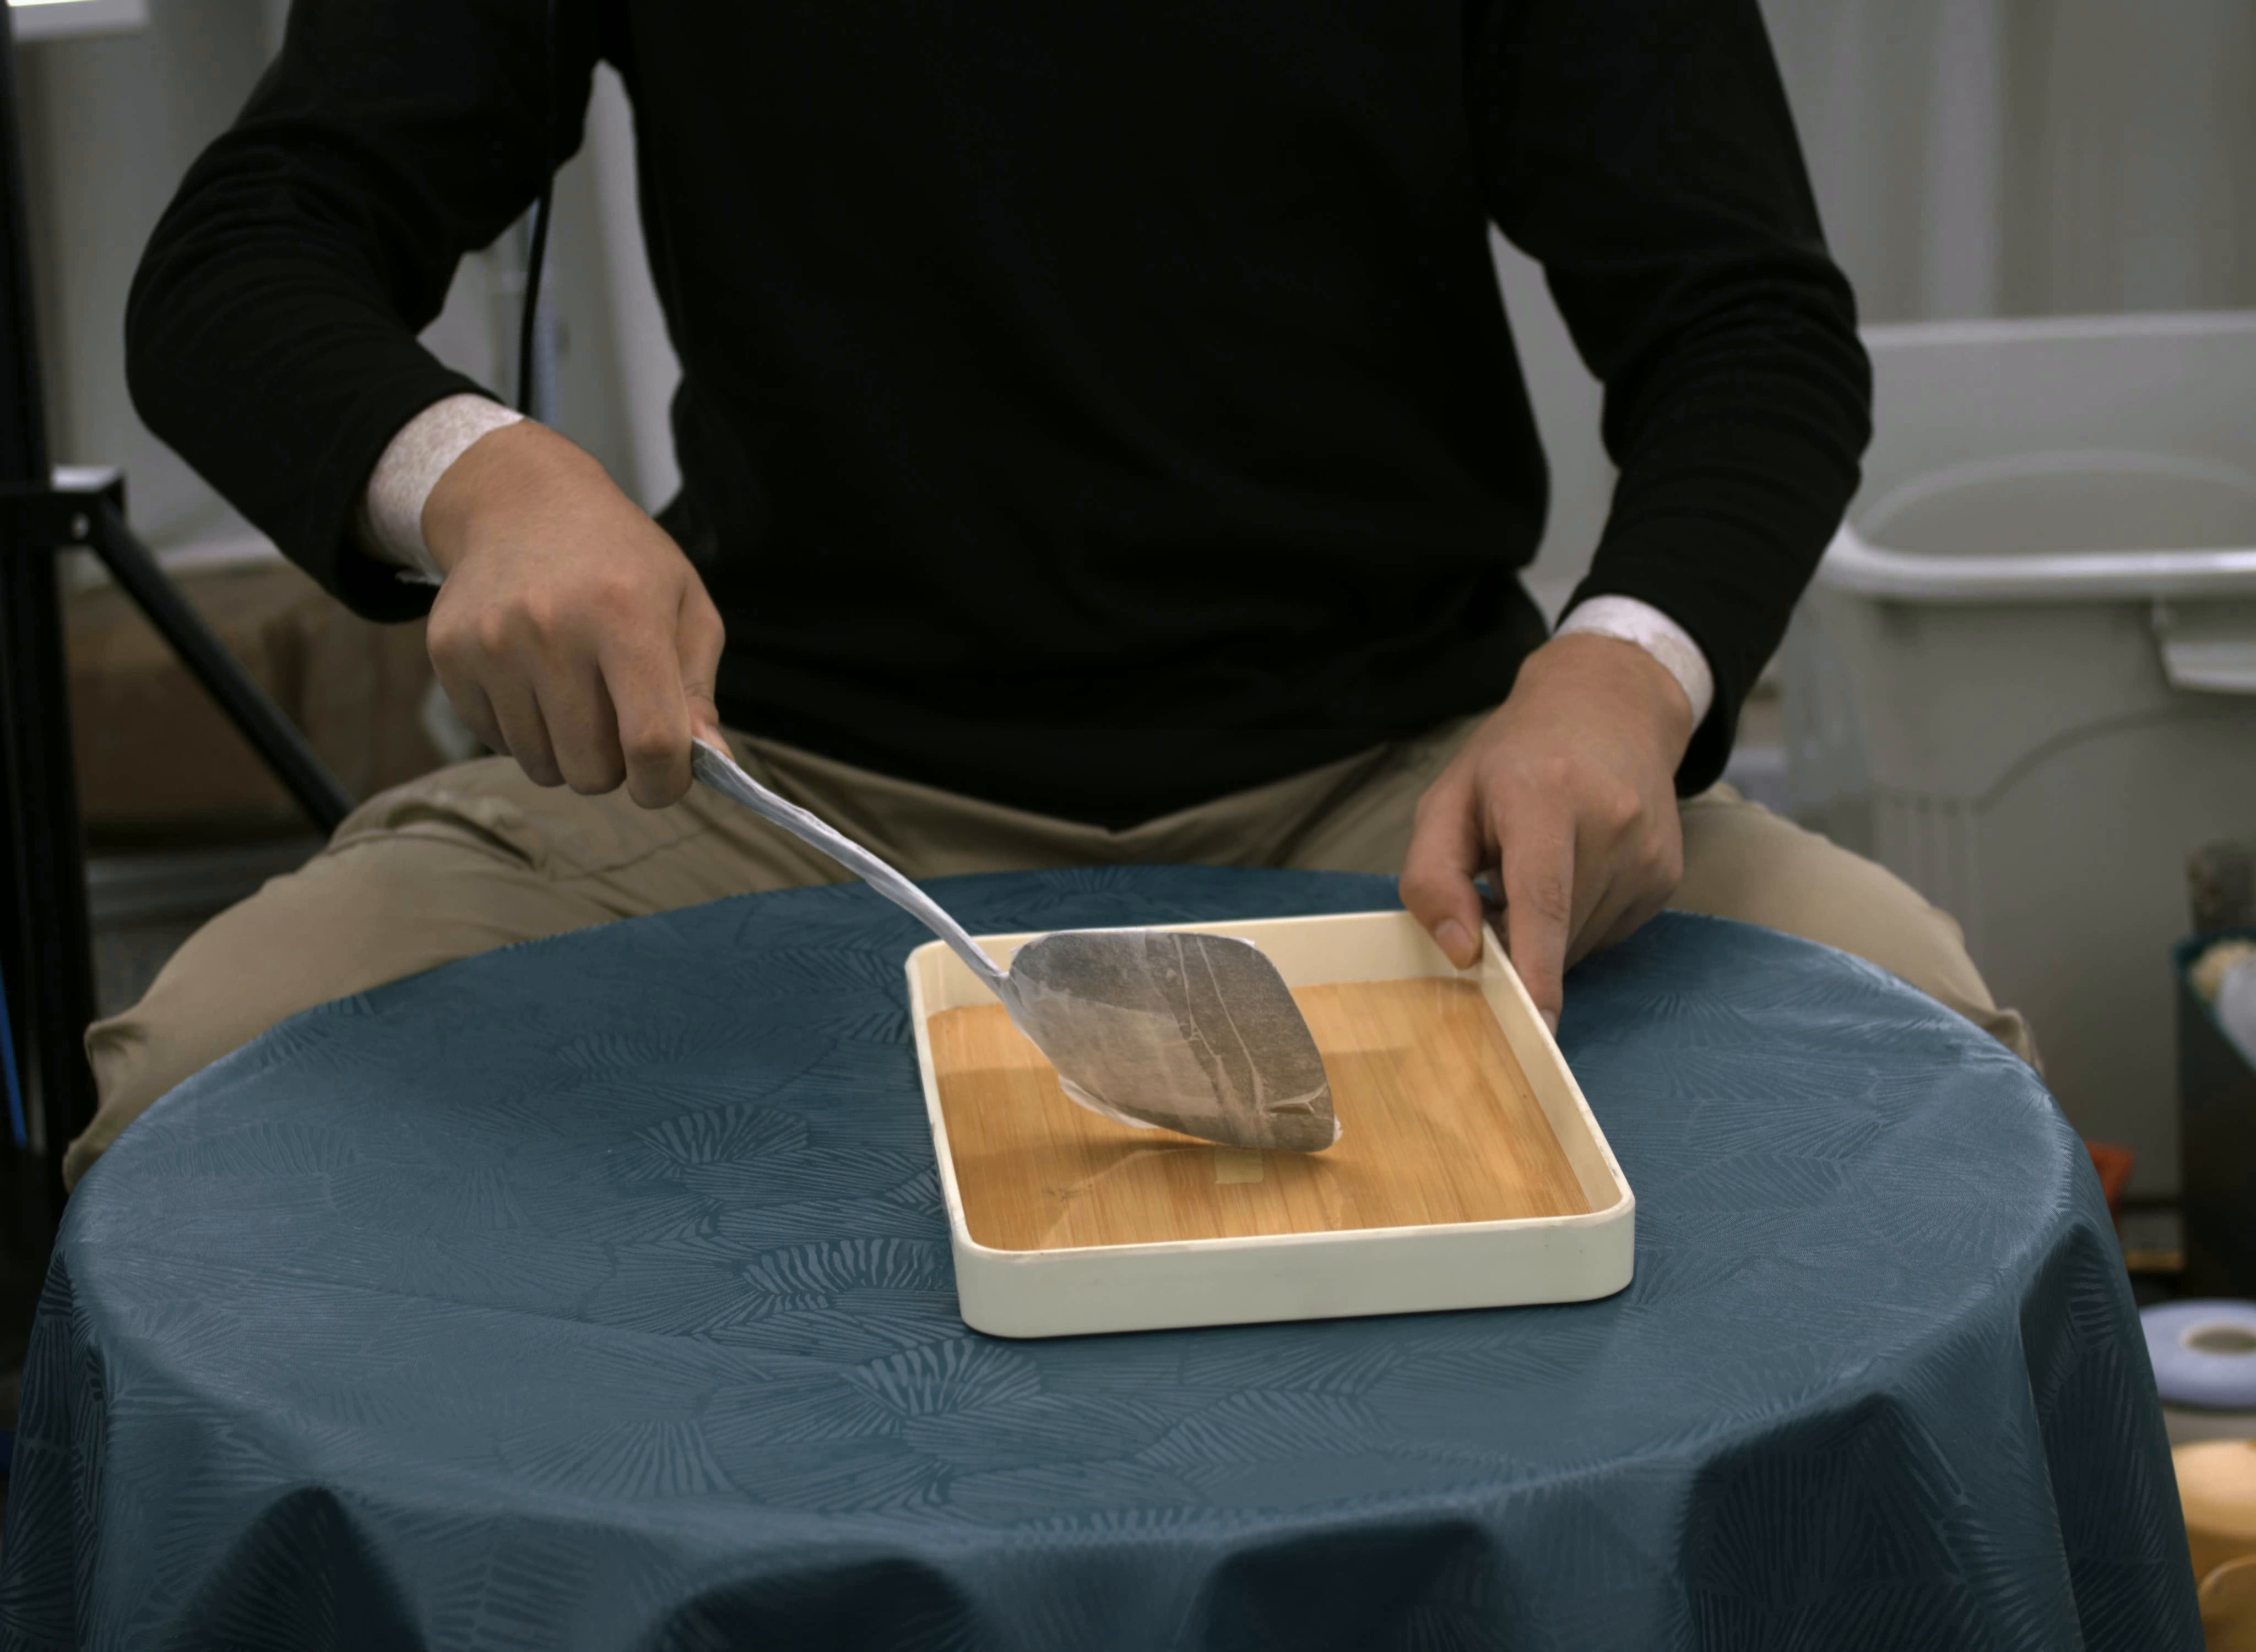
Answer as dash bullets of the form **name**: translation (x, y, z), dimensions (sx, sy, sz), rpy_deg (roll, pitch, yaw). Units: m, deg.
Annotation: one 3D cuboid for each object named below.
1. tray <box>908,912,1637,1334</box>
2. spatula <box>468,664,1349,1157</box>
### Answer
- **tray**: translation (0.036, 0.084, 1.586), dimensions (0.190, 0.027, 0.302), rpy_deg (-4, 16, -3)
- **spatula**: translation (-0.079, 0.010, 1.630), dimensions (0.044, 0.097, 0.373), rpy_deg (-41, 47, -21)
